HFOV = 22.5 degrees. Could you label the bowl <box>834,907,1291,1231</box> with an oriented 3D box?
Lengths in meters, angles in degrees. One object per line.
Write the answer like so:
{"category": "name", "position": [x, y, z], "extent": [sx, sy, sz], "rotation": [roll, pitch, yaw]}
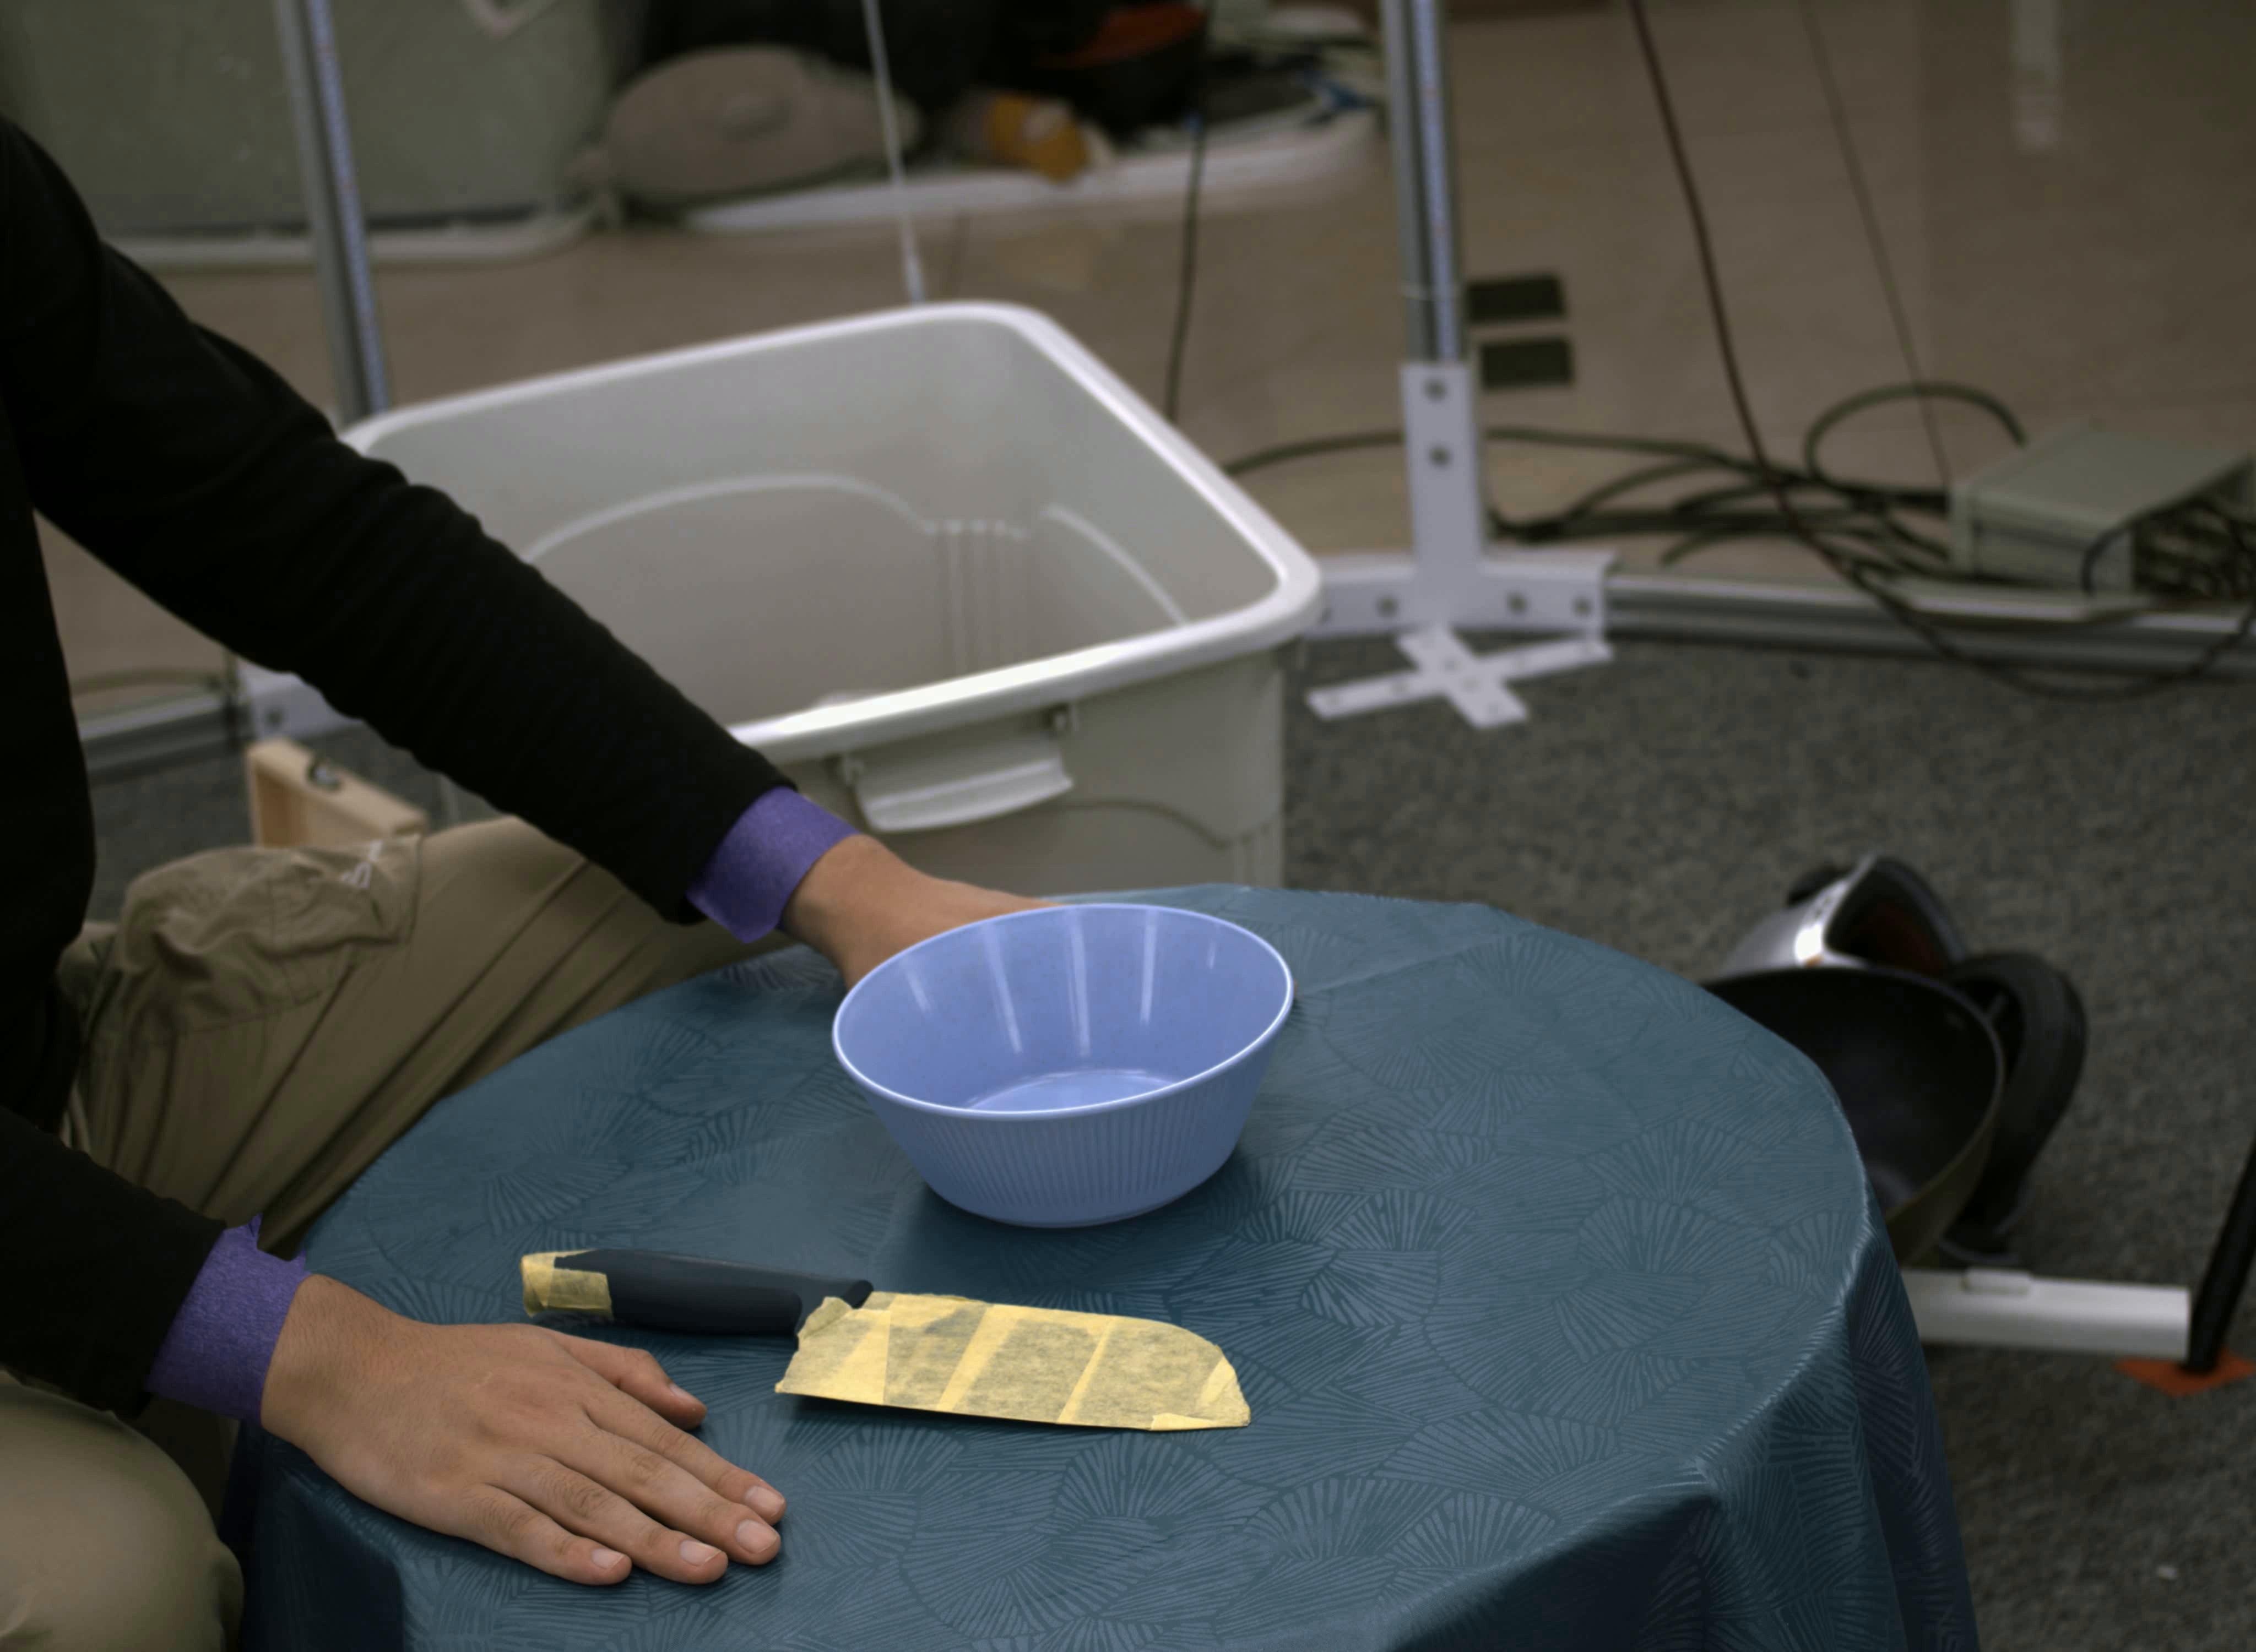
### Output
{"category": "bowl", "position": [-0.022, 0.098, 2.161], "extent": [0.176, 0.071, 0.173], "rotation": [-5, 26, 3]}

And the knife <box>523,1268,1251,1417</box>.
{"category": "knife", "position": [-0.092, 0.189, 2.050], "extent": [0.288, 0.027, 0.080], "rotation": [4, 25, 19]}
